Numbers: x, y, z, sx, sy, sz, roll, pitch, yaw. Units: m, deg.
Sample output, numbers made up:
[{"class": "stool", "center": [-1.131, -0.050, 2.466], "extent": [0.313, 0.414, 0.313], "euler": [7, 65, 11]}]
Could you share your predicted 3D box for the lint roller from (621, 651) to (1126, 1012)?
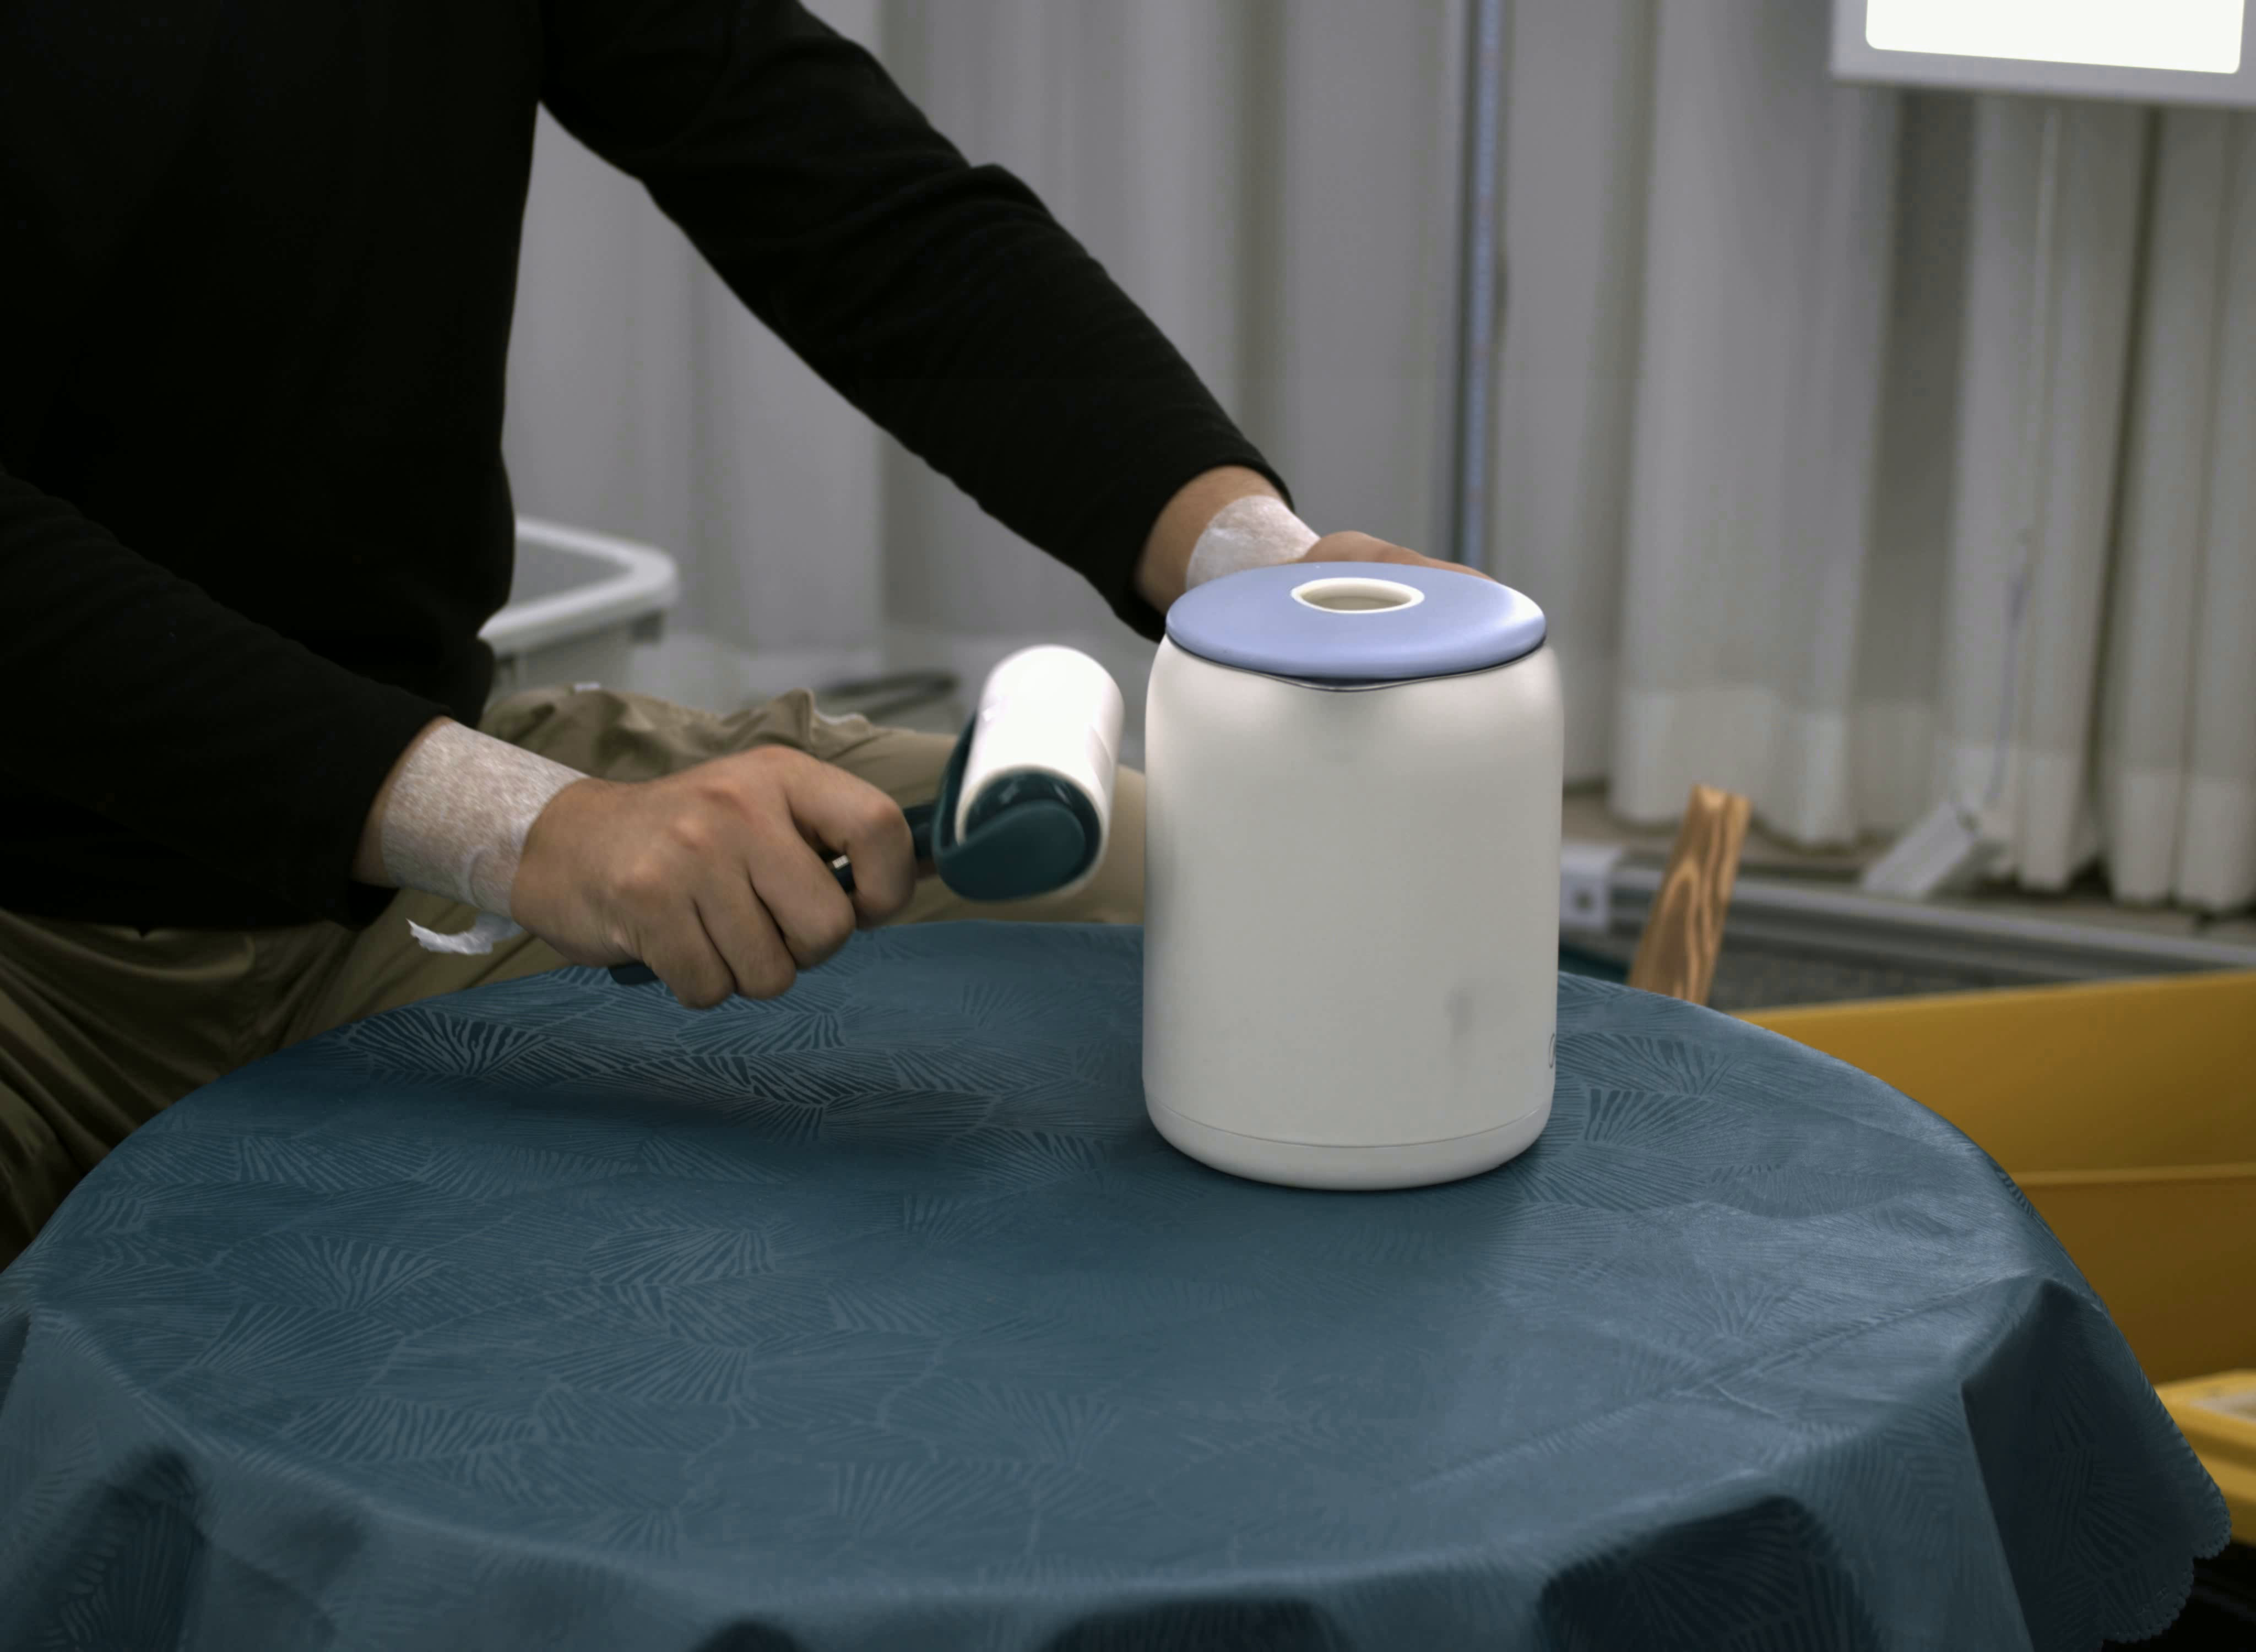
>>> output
[{"class": "lint roller", "center": [-0.087, 0.008, 1.672], "extent": [0.179, 0.049, 0.133], "euler": [-19, 20, 10]}]

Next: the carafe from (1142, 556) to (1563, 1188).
[{"class": "carafe", "center": [0.072, 0.007, 1.673], "extent": [0.131, 0.184, 0.190], "euler": [2, 16, 4]}]
